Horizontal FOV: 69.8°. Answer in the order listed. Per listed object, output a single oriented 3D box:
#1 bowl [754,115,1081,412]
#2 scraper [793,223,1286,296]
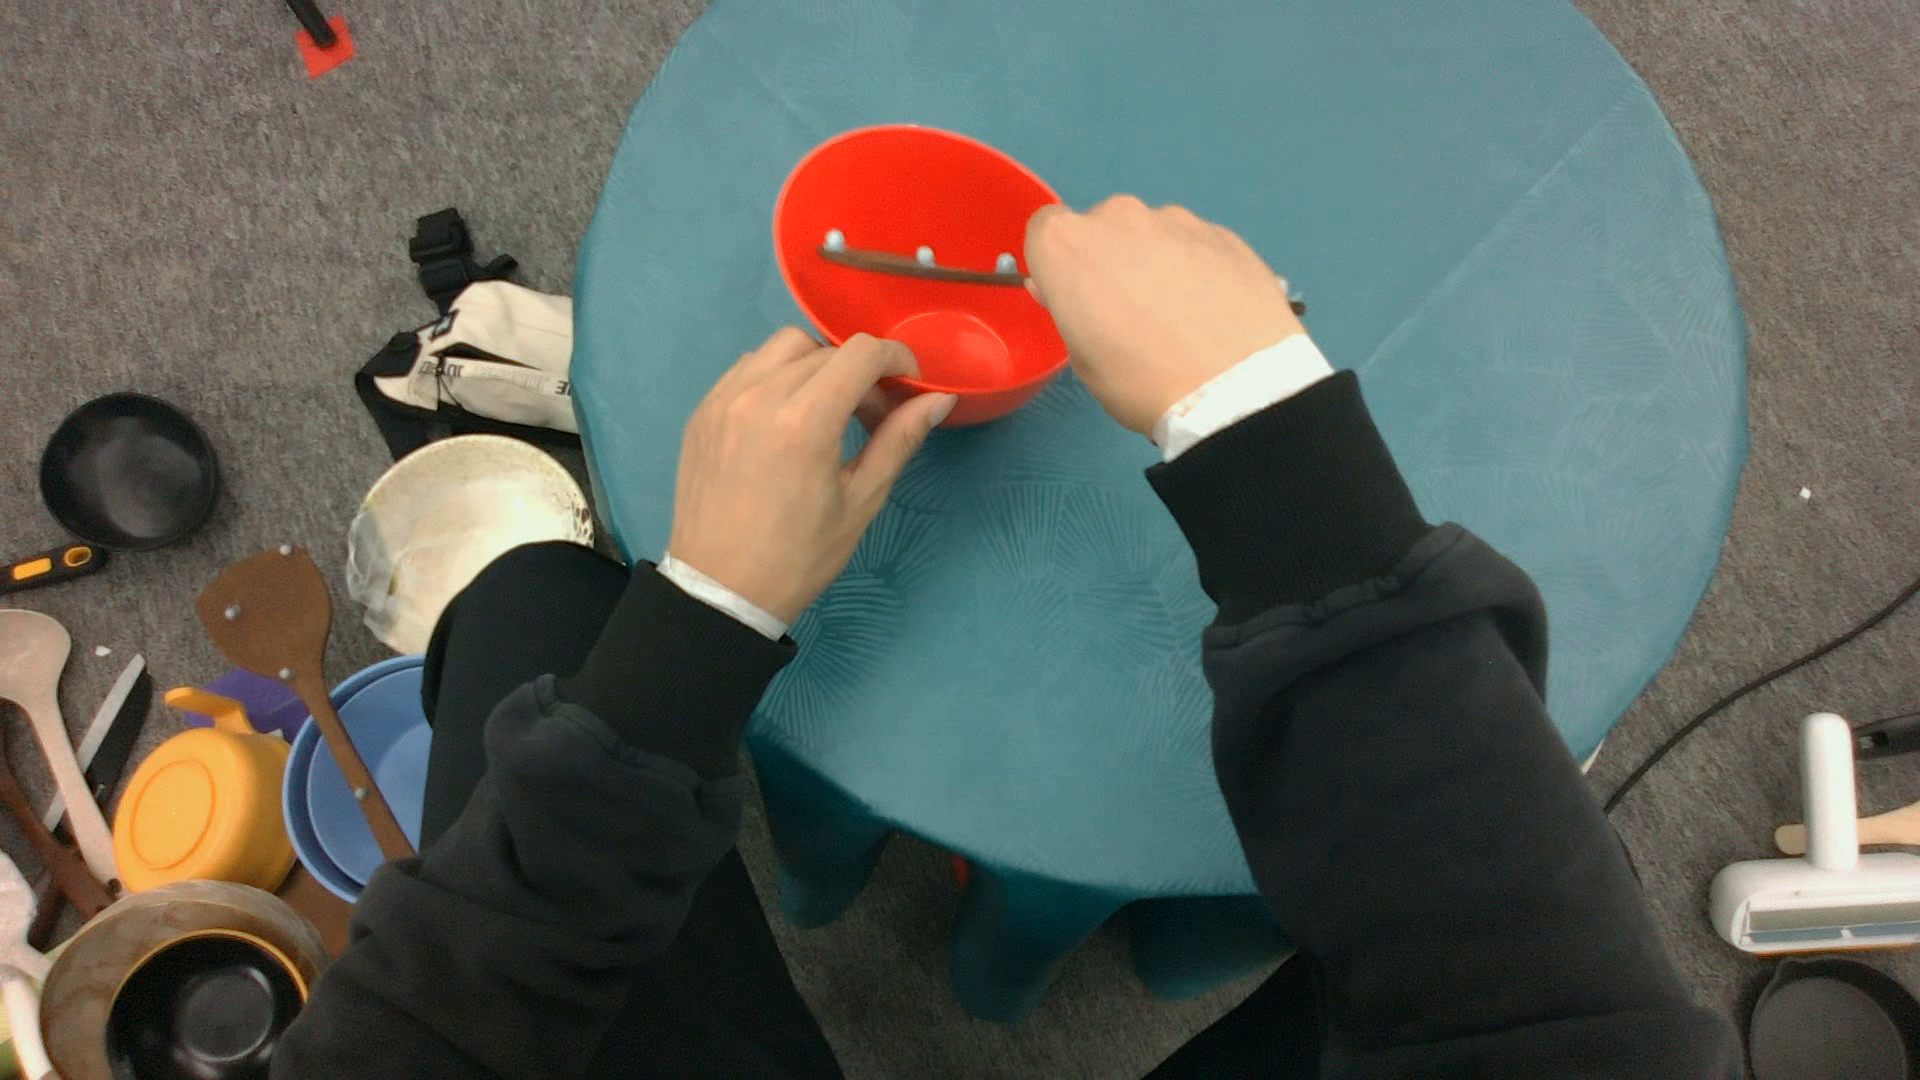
[{"bbox_3d":[-0.022,-0.114,0.644,0.148,0.104,0.148,4,61,-7],"label":"bowl"},{"bbox_3d":[0.030,-0.113,0.561,0.211,0.076,0.011,14,103,31],"label":"scraper"}]
